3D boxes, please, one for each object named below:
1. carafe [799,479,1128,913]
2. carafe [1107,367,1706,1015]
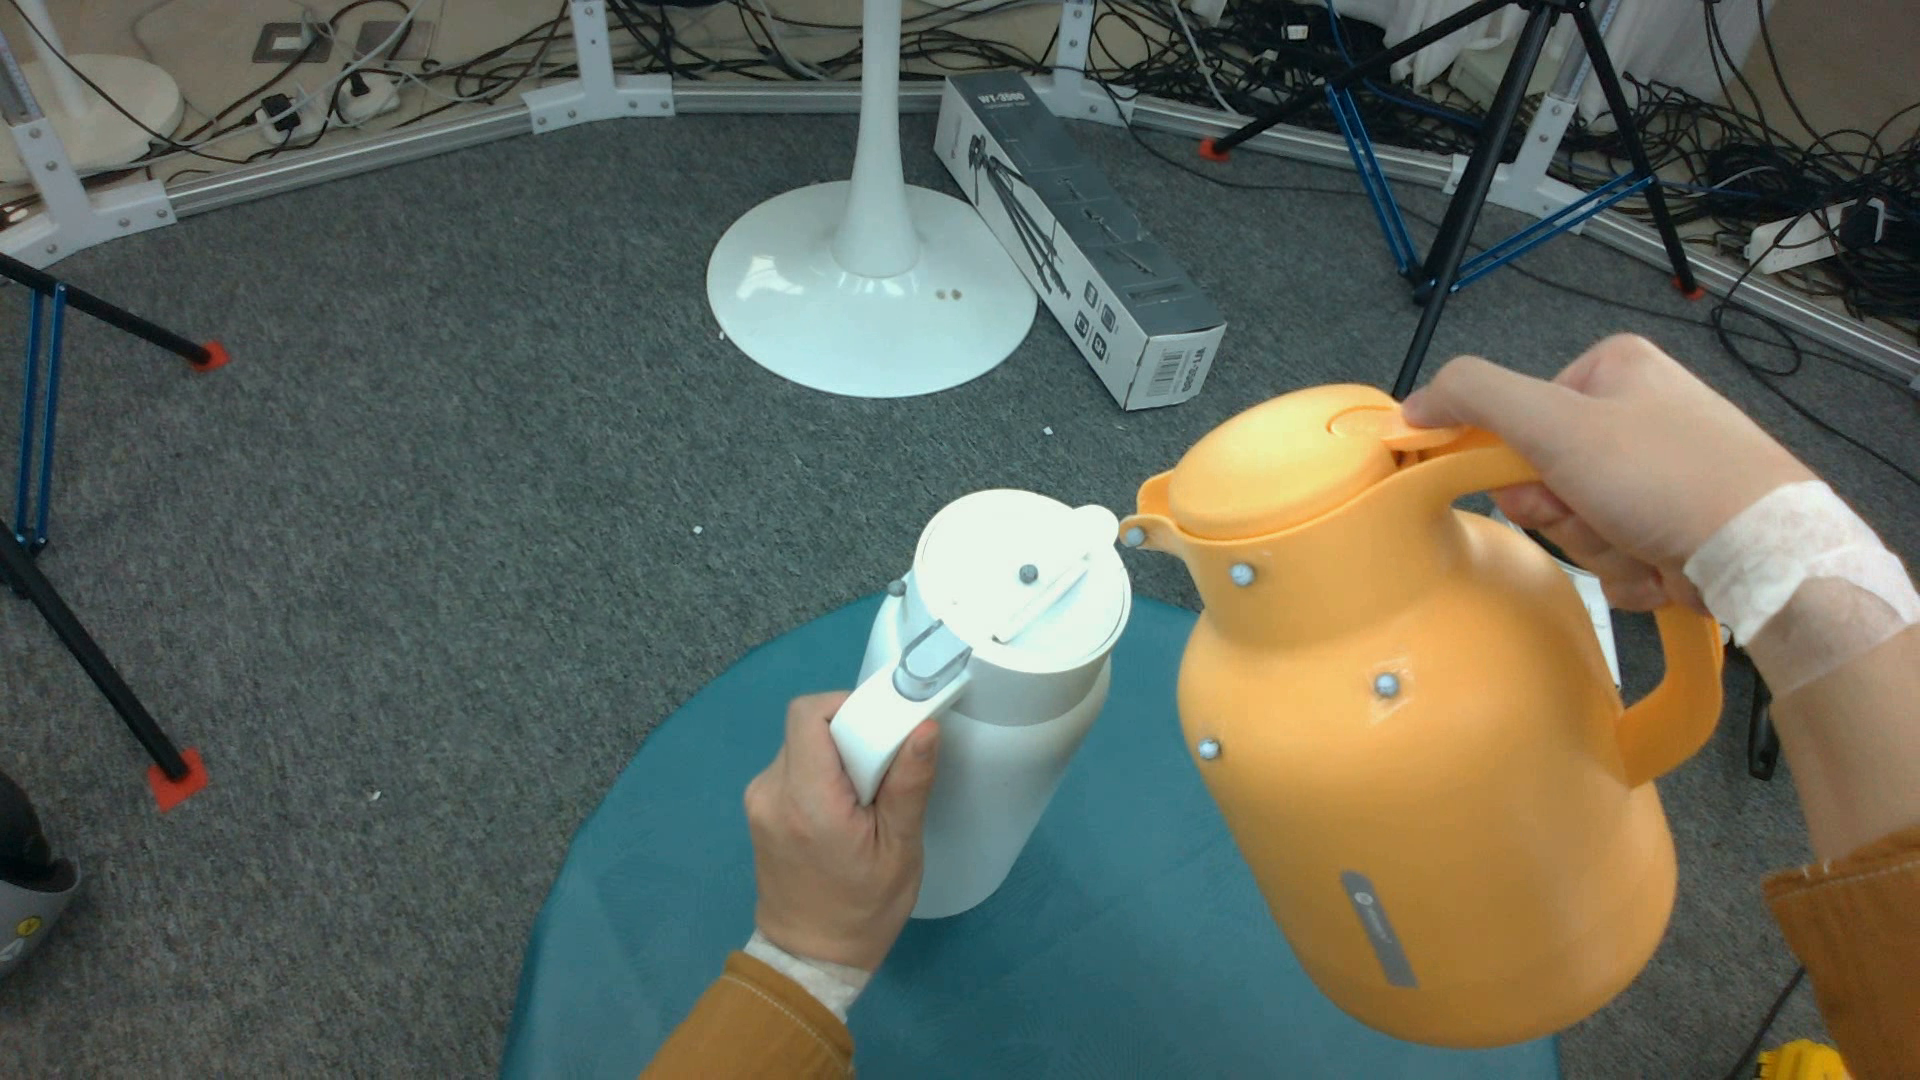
[{"bbox_3d":[-0.010,0.098,0.695,0.124,0.267,0.173,41,55,14],"label":"carafe"},{"bbox_3d":[0.185,0.054,0.542,0.201,0.260,0.164,-13,32,39],"label":"carafe"}]
